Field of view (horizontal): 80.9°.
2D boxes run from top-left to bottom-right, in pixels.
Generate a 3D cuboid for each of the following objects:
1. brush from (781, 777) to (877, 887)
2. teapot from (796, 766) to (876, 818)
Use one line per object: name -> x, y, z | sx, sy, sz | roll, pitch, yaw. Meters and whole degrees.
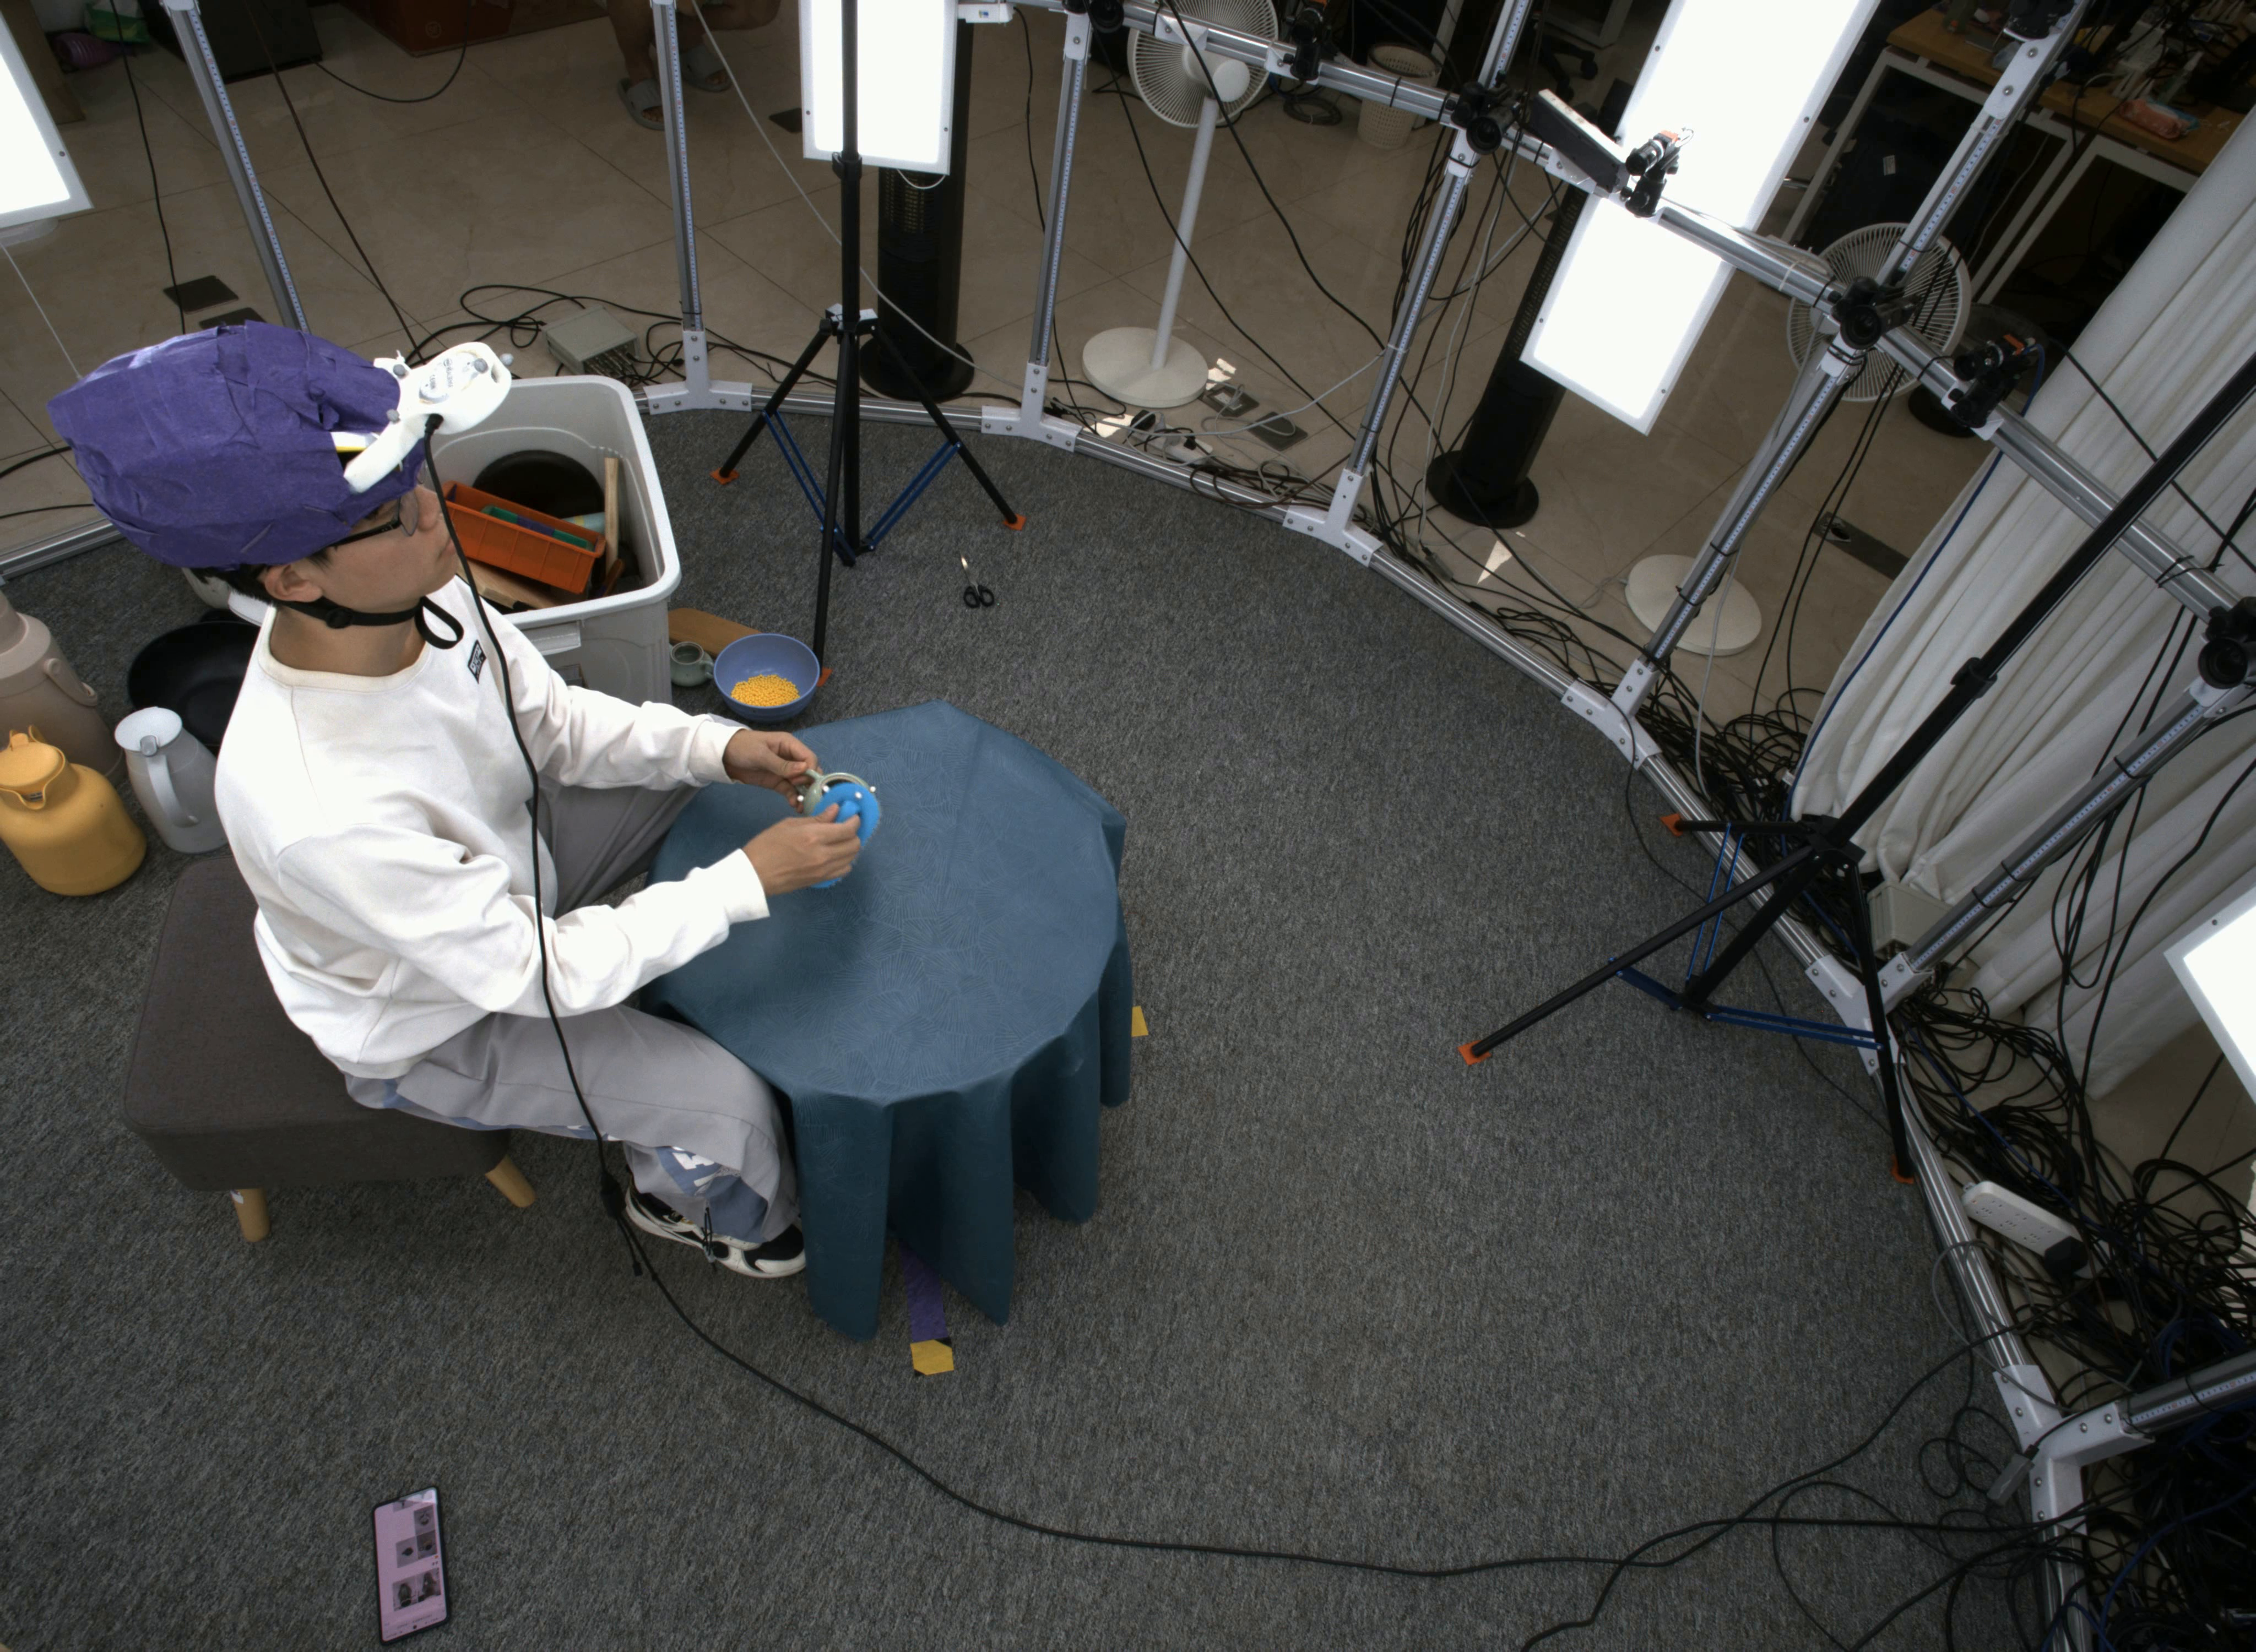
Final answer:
brush -> -0.359, 0.008, 1.561 | 0.085, 0.063, 0.142 | 34, 86, -12
teapot -> -0.371, -0.031, 1.635 | 0.126, 0.062, 0.091 | 36, 52, 14
